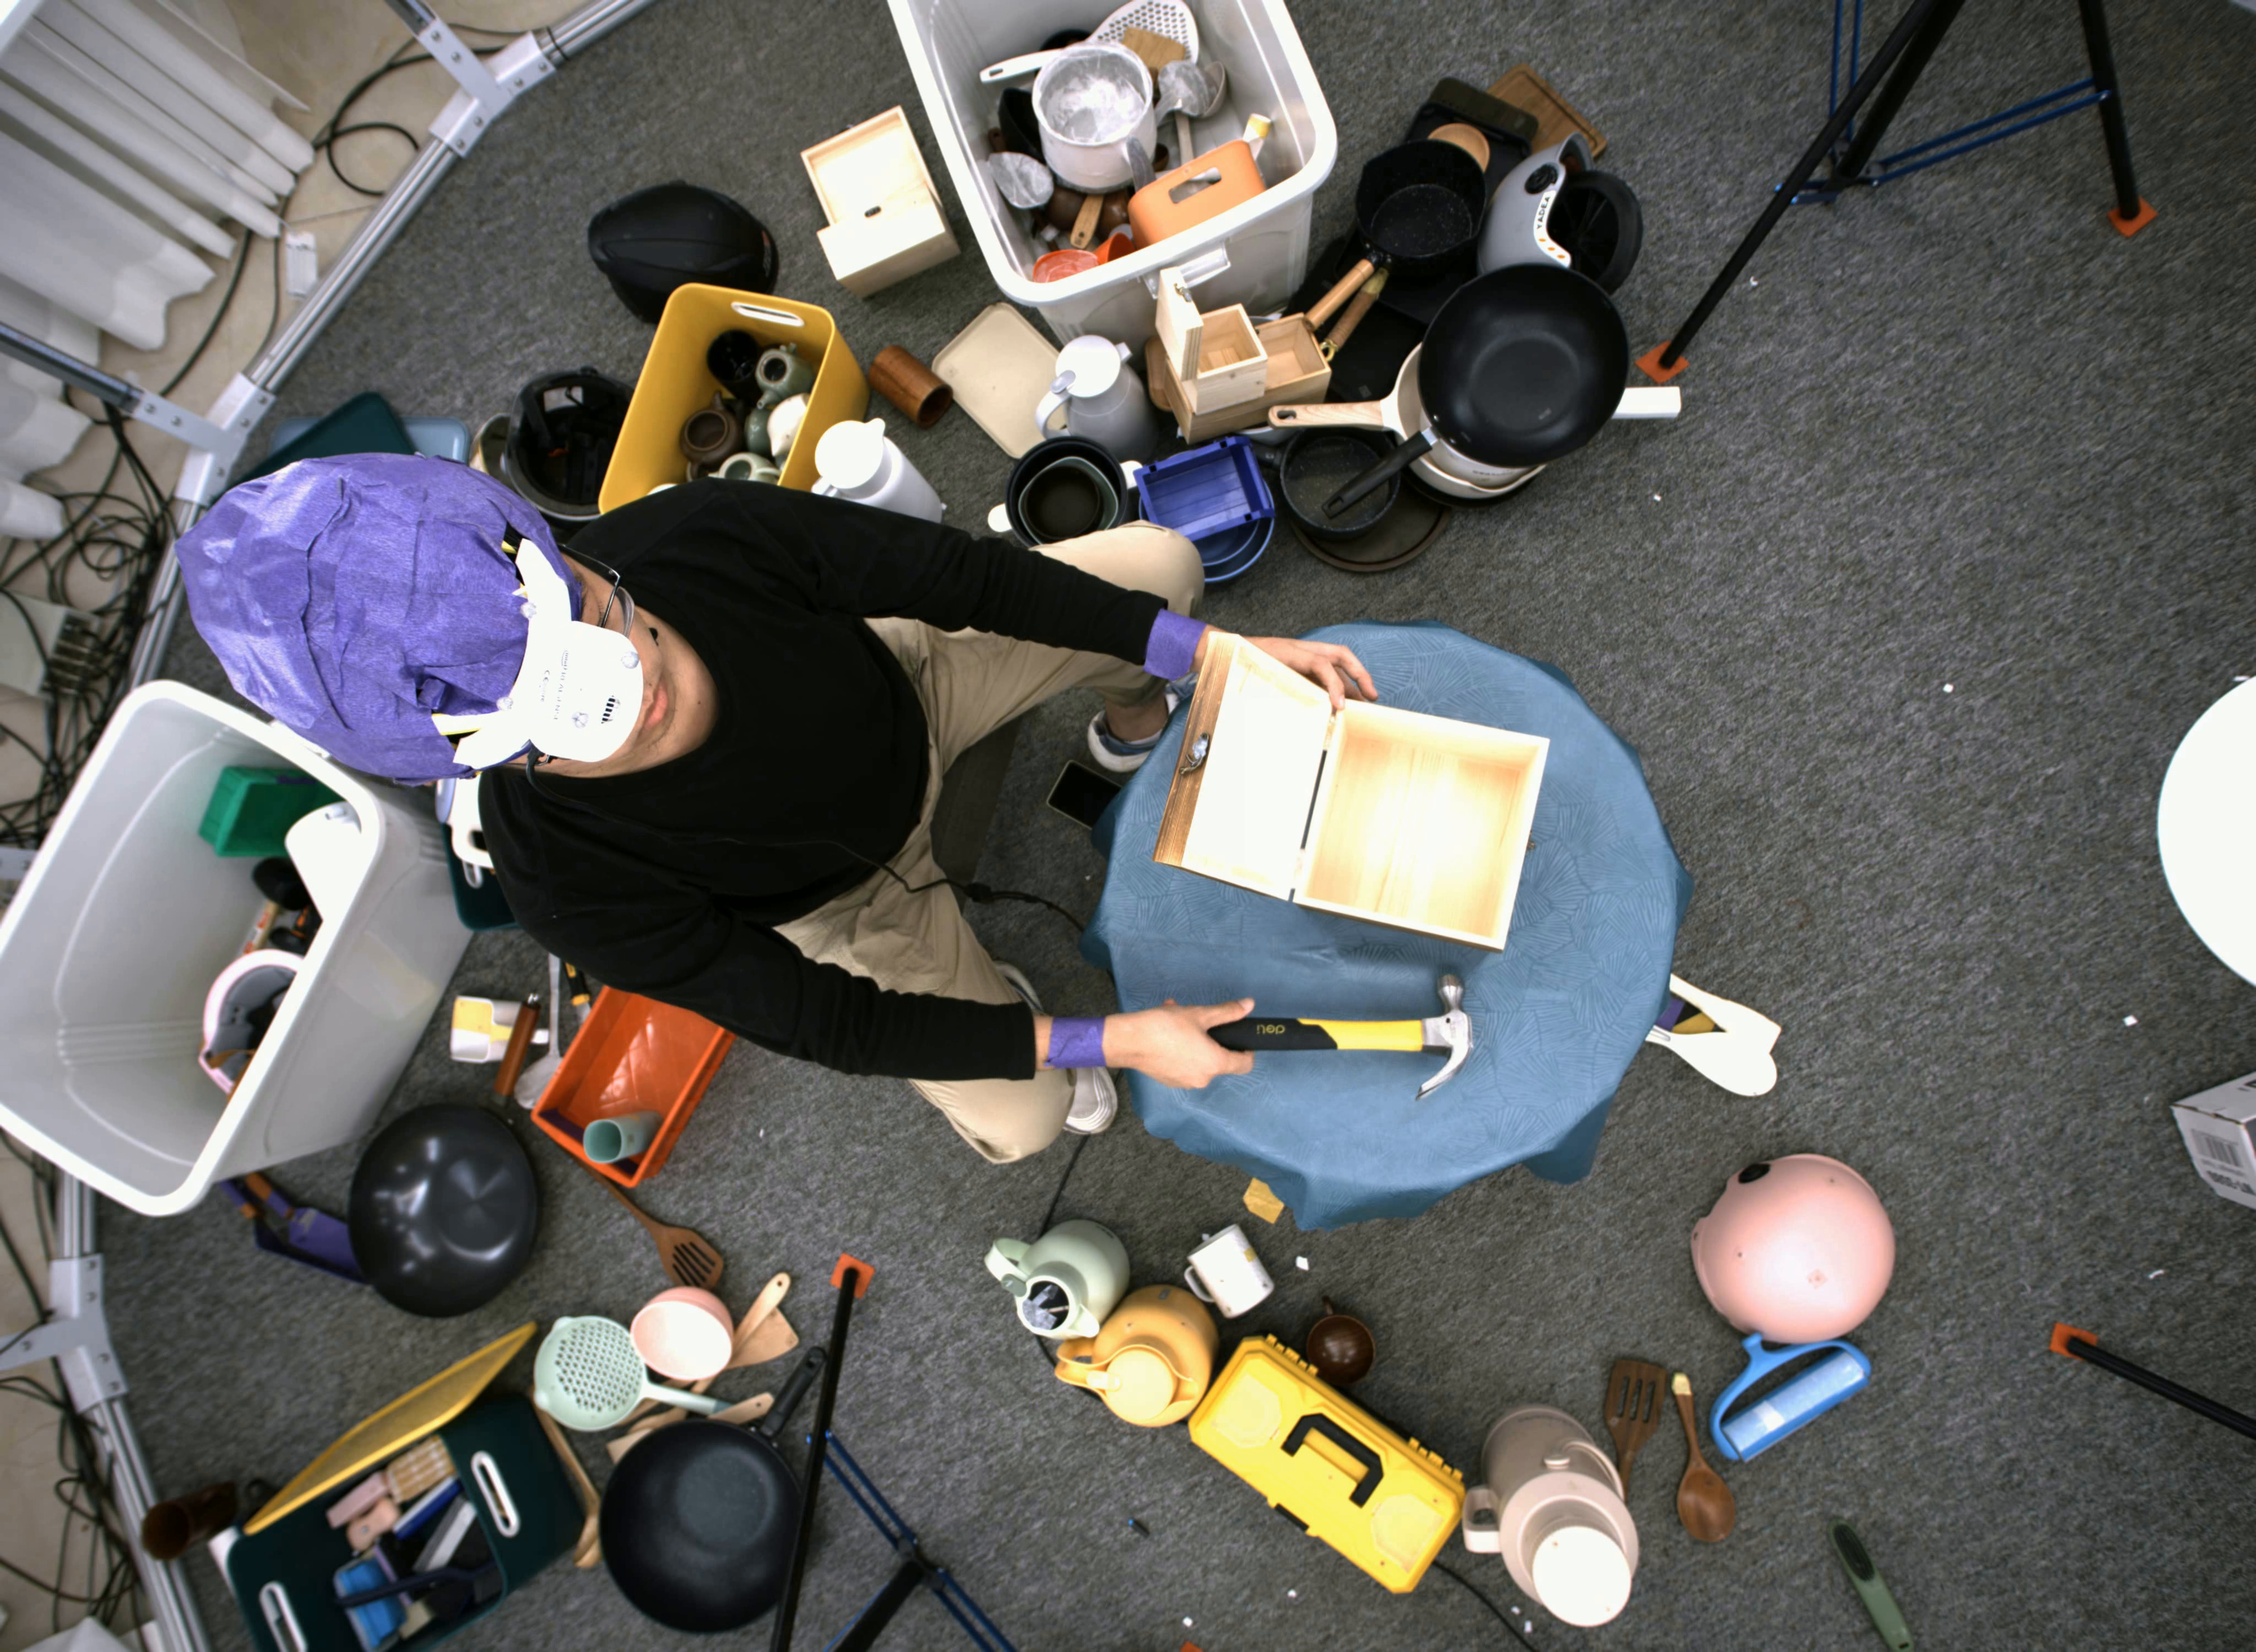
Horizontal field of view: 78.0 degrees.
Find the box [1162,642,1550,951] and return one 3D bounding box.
[{"bbox_3d":[0.222,-0.016,1.294,0.322,0.375,0.208,13,88,12],"label":"box"}]

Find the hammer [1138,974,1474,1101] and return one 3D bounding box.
[{"bbox_3d":[0.179,0.207,1.405,0.339,0.033,0.128,1,59,7],"label":"hammer"}]
